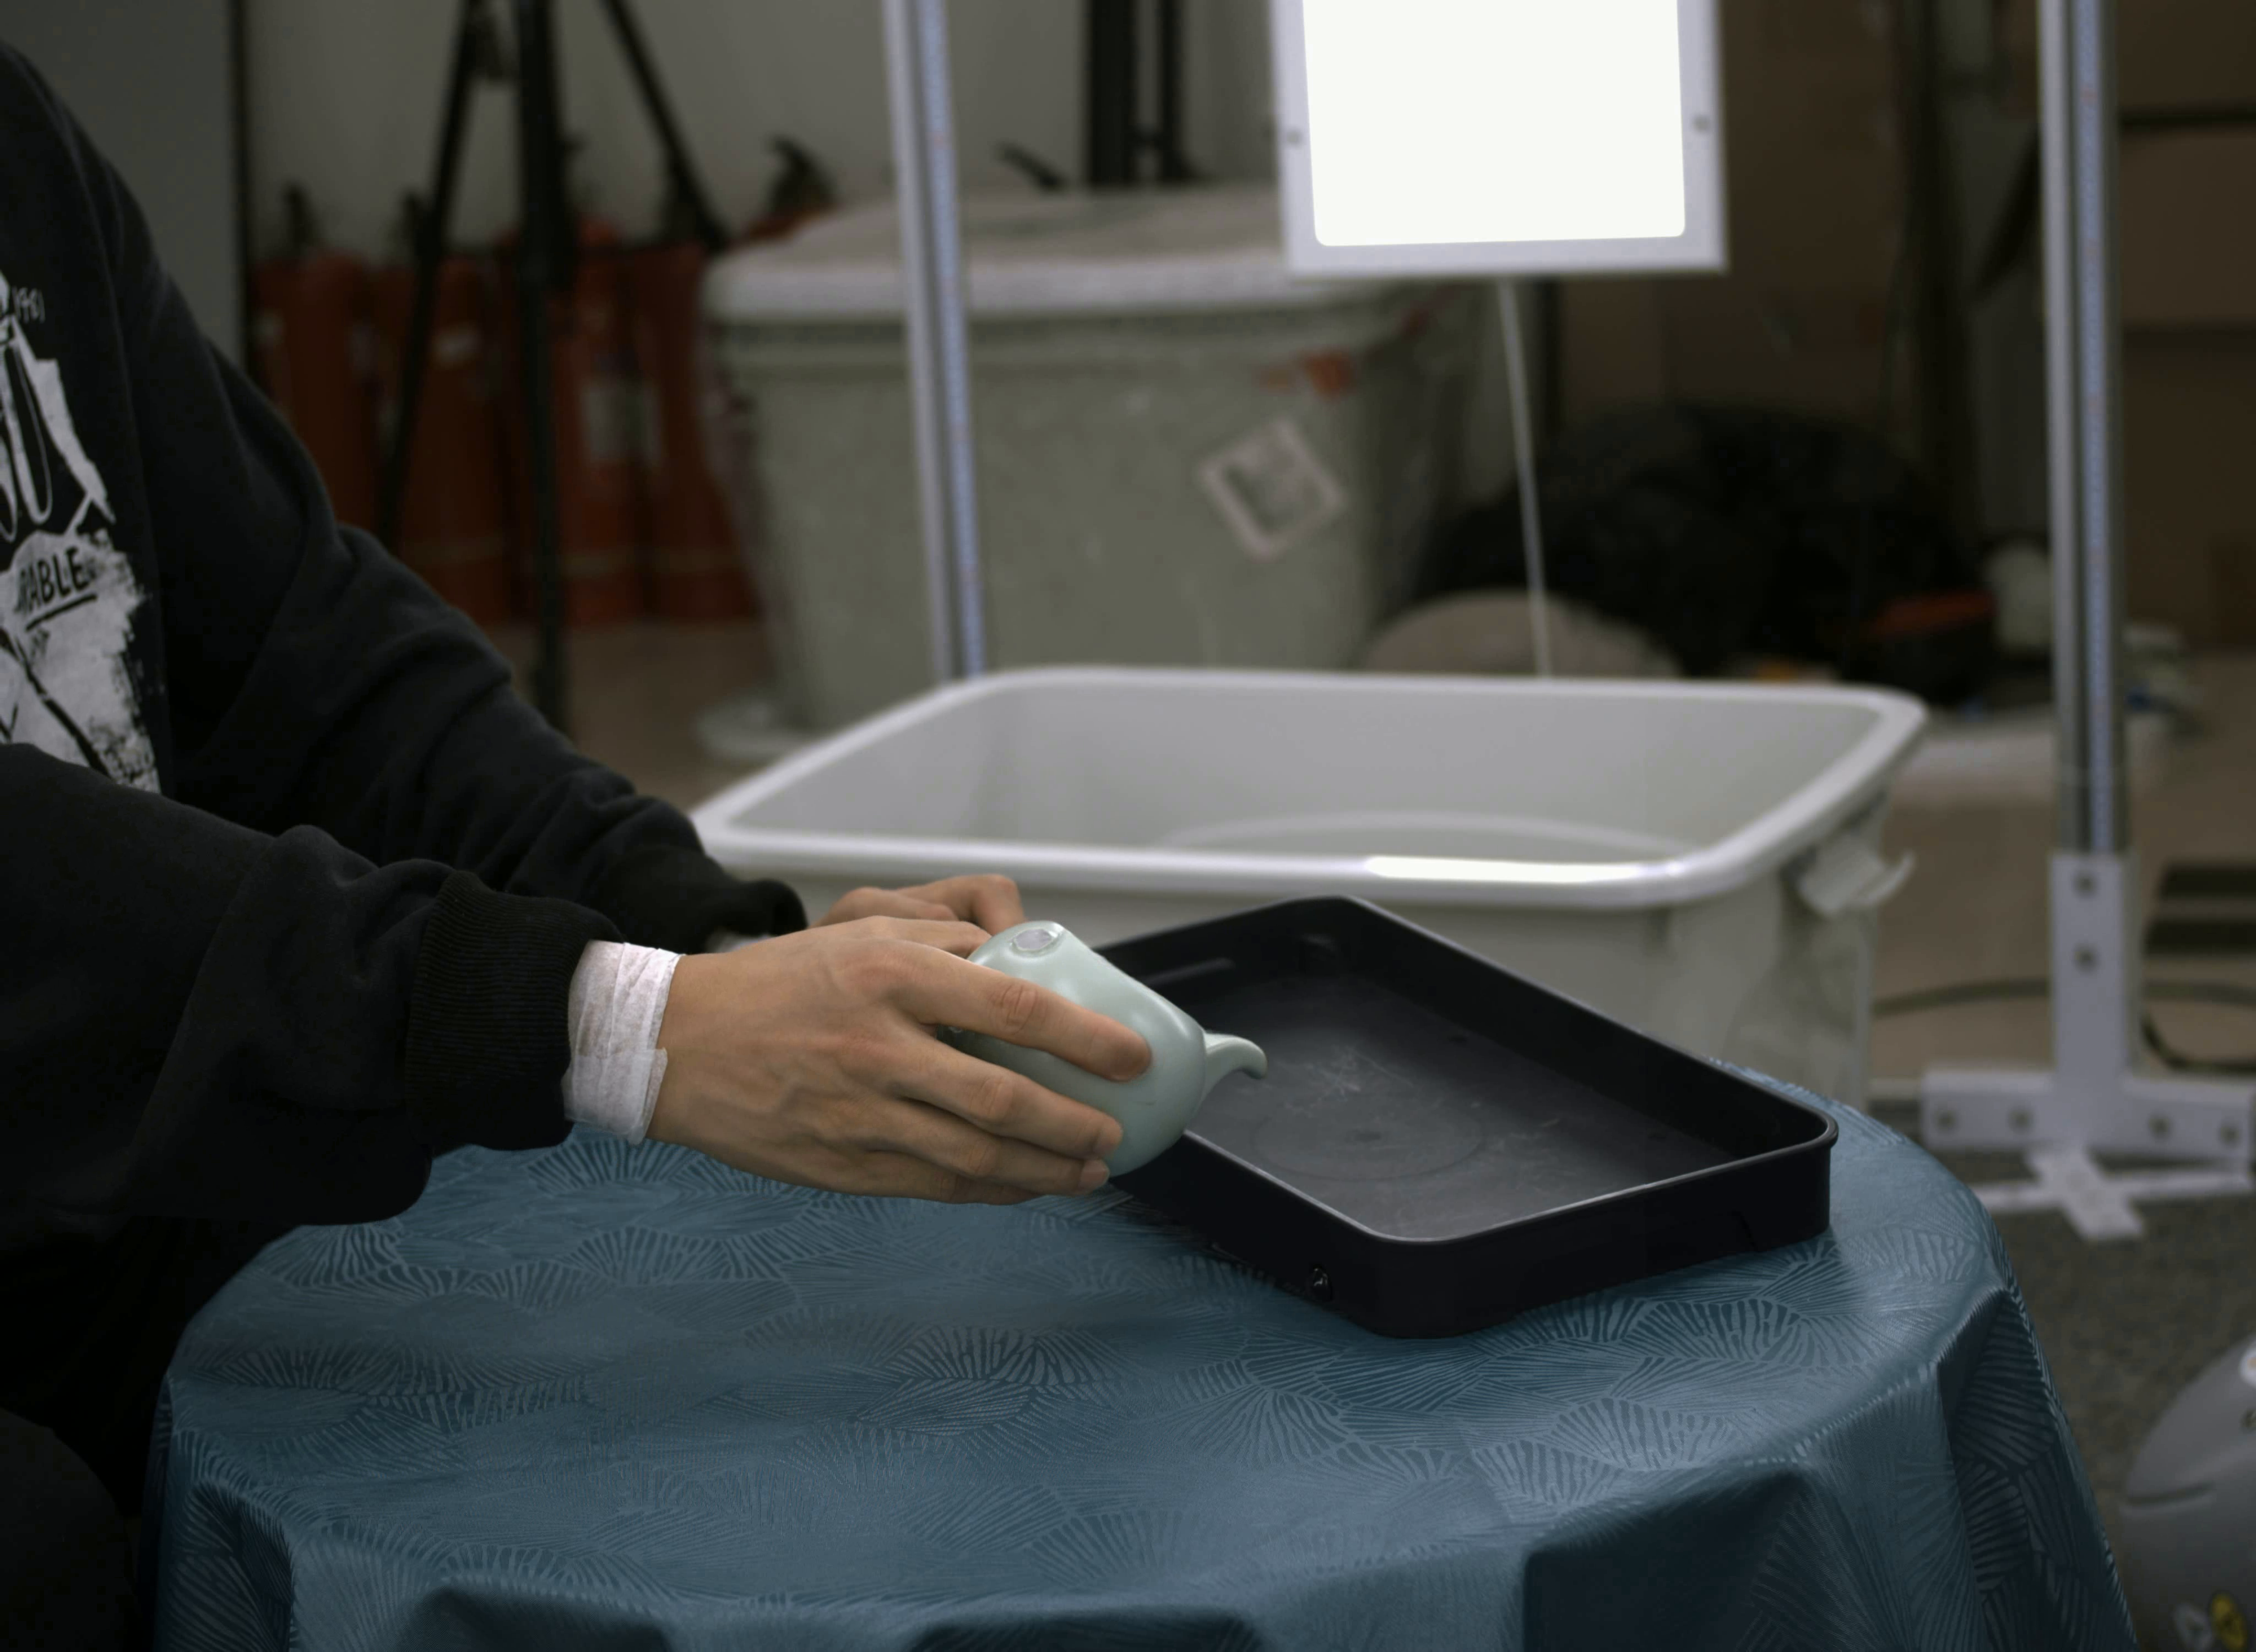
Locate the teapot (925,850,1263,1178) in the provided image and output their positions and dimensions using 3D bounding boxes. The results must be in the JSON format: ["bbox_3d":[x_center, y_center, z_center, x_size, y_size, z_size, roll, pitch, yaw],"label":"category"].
[{"bbox_3d":[-0.019,0.070,1.749,0.141,0.074,0.090,39,-4,-36],"label":"teapot"}]

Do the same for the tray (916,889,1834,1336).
[{"bbox_3d":[0.079,0.093,1.886,0.180,0.037,0.324,-14,21,-29],"label":"tray"}]
